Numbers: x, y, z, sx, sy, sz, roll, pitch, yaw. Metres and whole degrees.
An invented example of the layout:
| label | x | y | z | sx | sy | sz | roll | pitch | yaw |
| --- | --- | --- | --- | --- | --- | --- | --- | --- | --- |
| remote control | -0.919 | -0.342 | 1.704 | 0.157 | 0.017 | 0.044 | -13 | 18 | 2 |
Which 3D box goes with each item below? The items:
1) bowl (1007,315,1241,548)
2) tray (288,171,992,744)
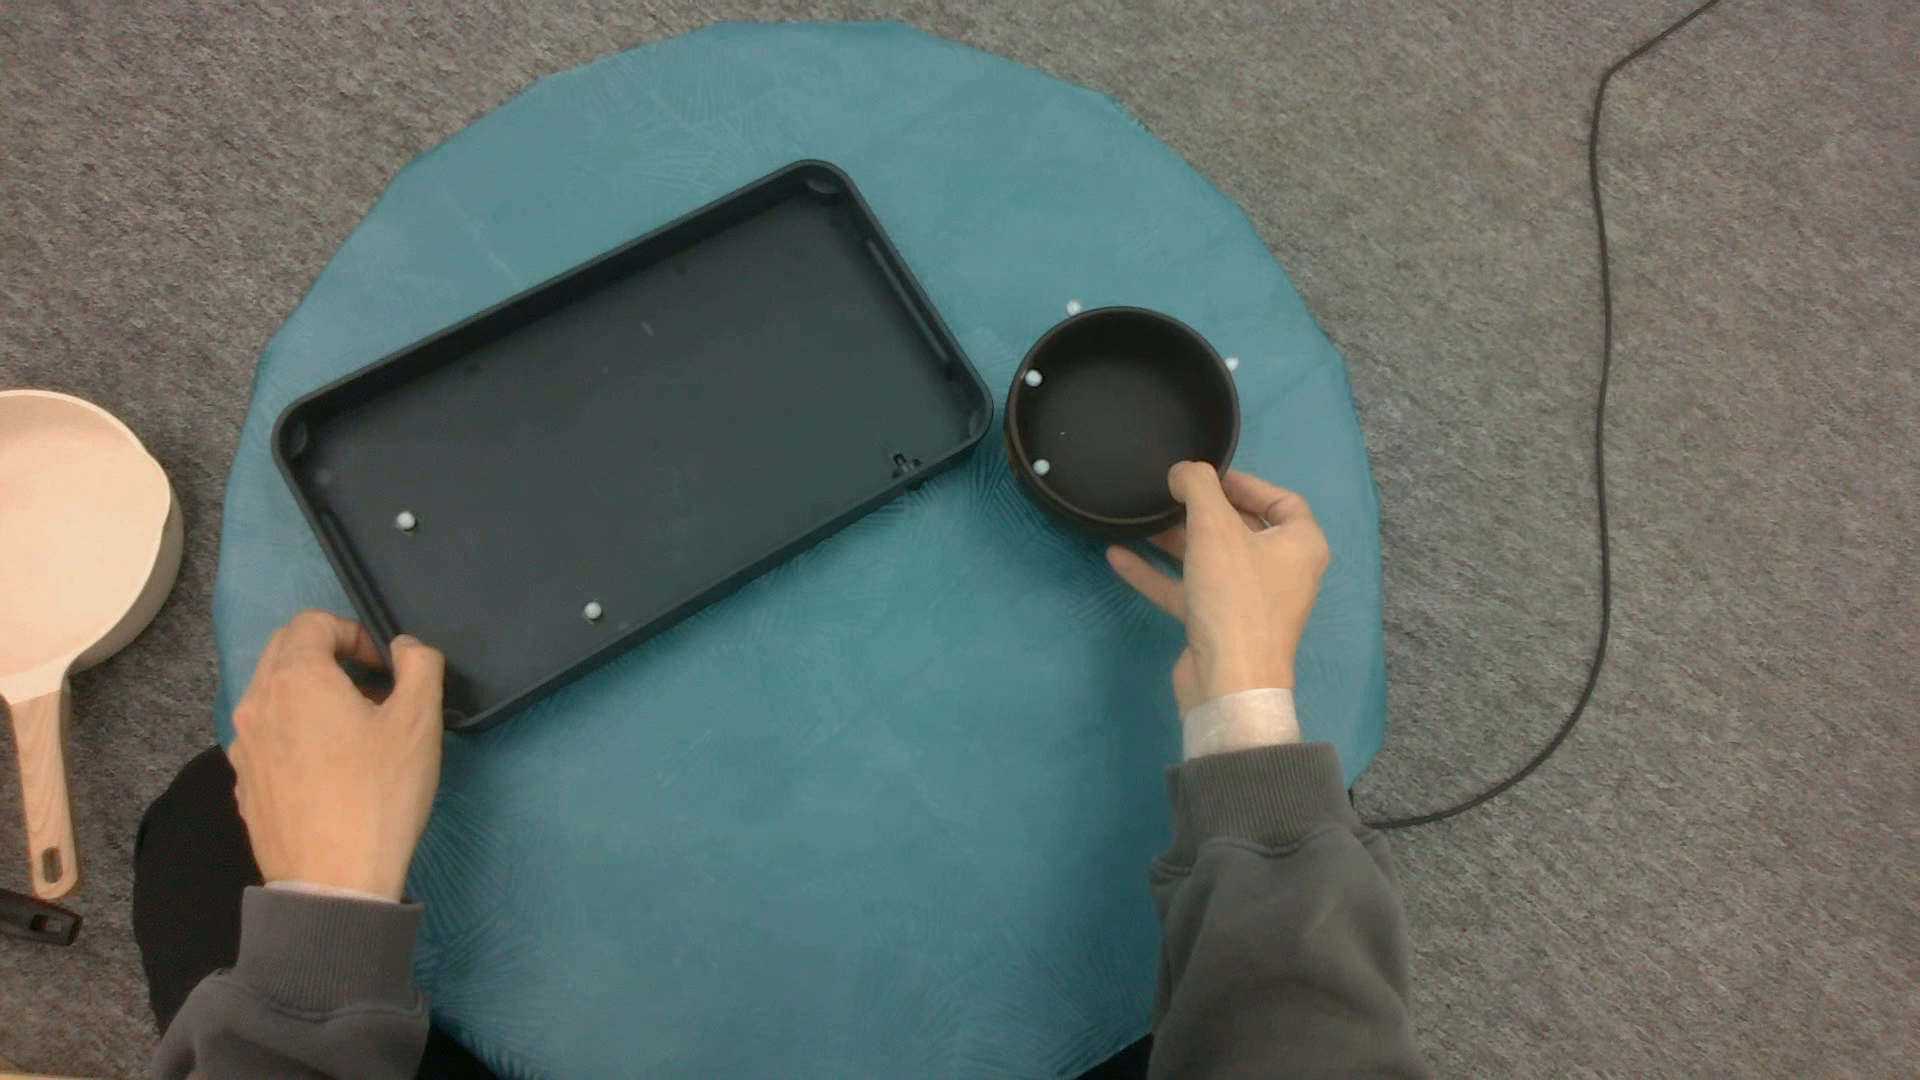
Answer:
| label | x | y | z | sx | sy | sz | roll | pitch | yaw |
| --- | --- | --- | --- | --- | --- | --- | --- | --- | --- |
| bowl | 0.083 | -0.052 | 0.718 | 0.118 | 0.070 | 0.118 | 0 | 78 | 0 |
| tray | -0.157 | -0.049 | 0.711 | 0.319 | 0.037 | 0.184 | -32 | 80 | -16 |
